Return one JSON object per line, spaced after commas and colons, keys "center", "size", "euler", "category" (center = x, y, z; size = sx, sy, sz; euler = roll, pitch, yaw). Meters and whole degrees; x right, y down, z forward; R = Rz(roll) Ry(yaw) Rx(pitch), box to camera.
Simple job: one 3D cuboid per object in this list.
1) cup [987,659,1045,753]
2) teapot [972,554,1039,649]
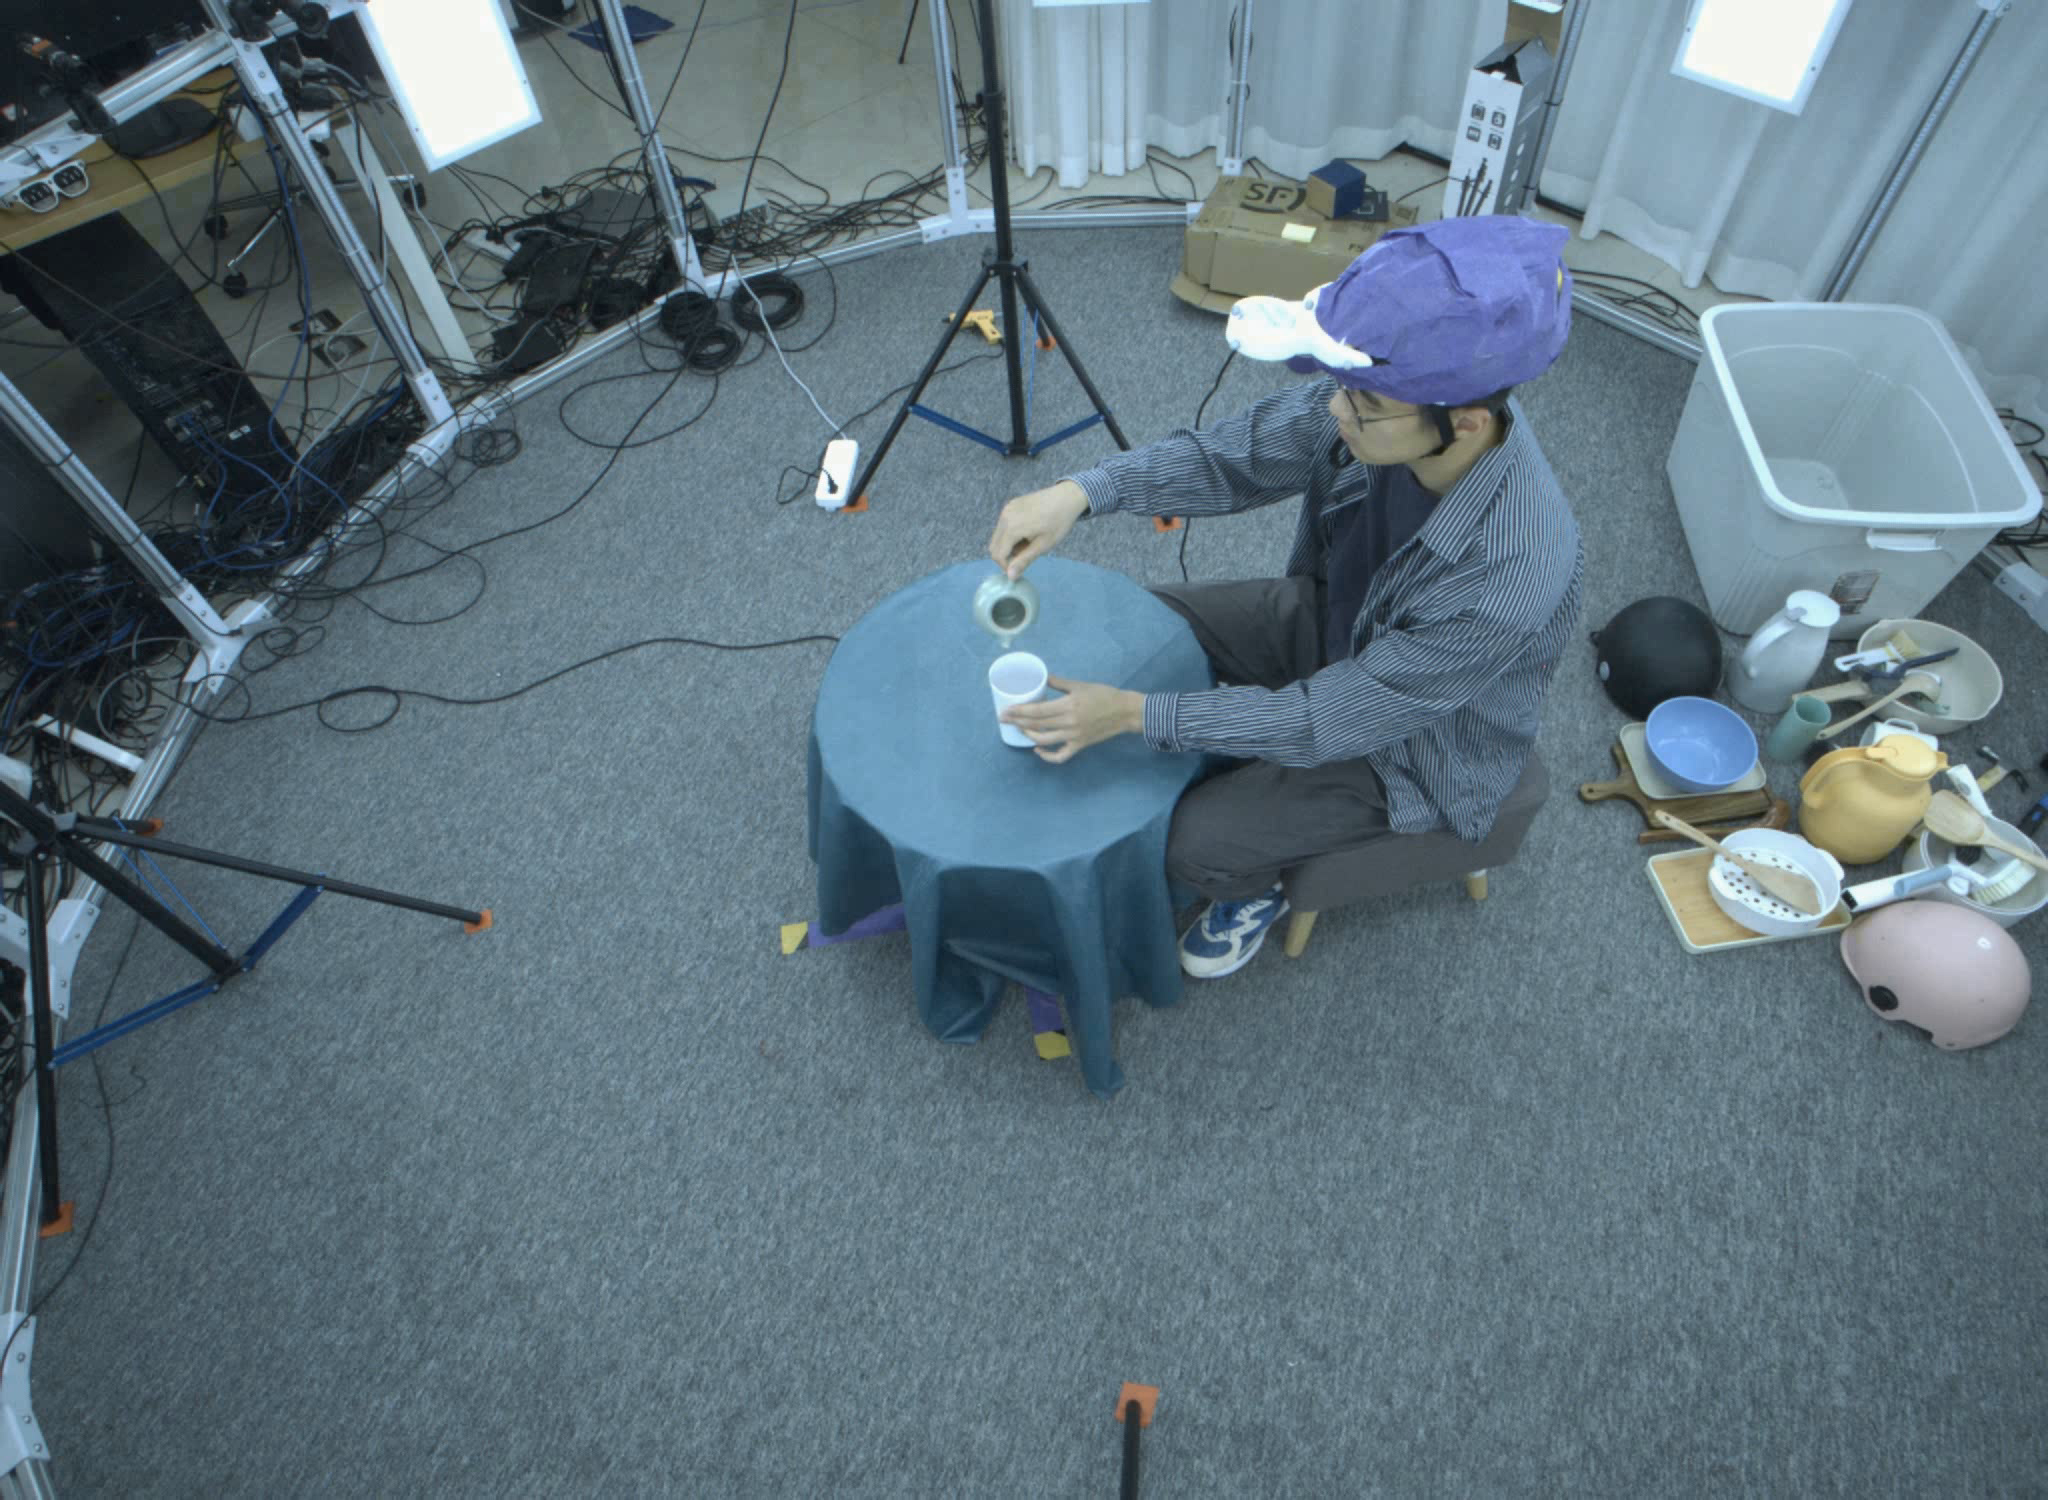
{"center": [-0.008, -0.059, 1.746], "size": [0.081, 0.127, 0.081], "euler": [-1, 54, 3], "category": "cup"}
{"center": [-0.024, -0.205, 1.670], "size": [0.092, 0.129, 0.060], "euler": [5, 29, -12], "category": "teapot"}
